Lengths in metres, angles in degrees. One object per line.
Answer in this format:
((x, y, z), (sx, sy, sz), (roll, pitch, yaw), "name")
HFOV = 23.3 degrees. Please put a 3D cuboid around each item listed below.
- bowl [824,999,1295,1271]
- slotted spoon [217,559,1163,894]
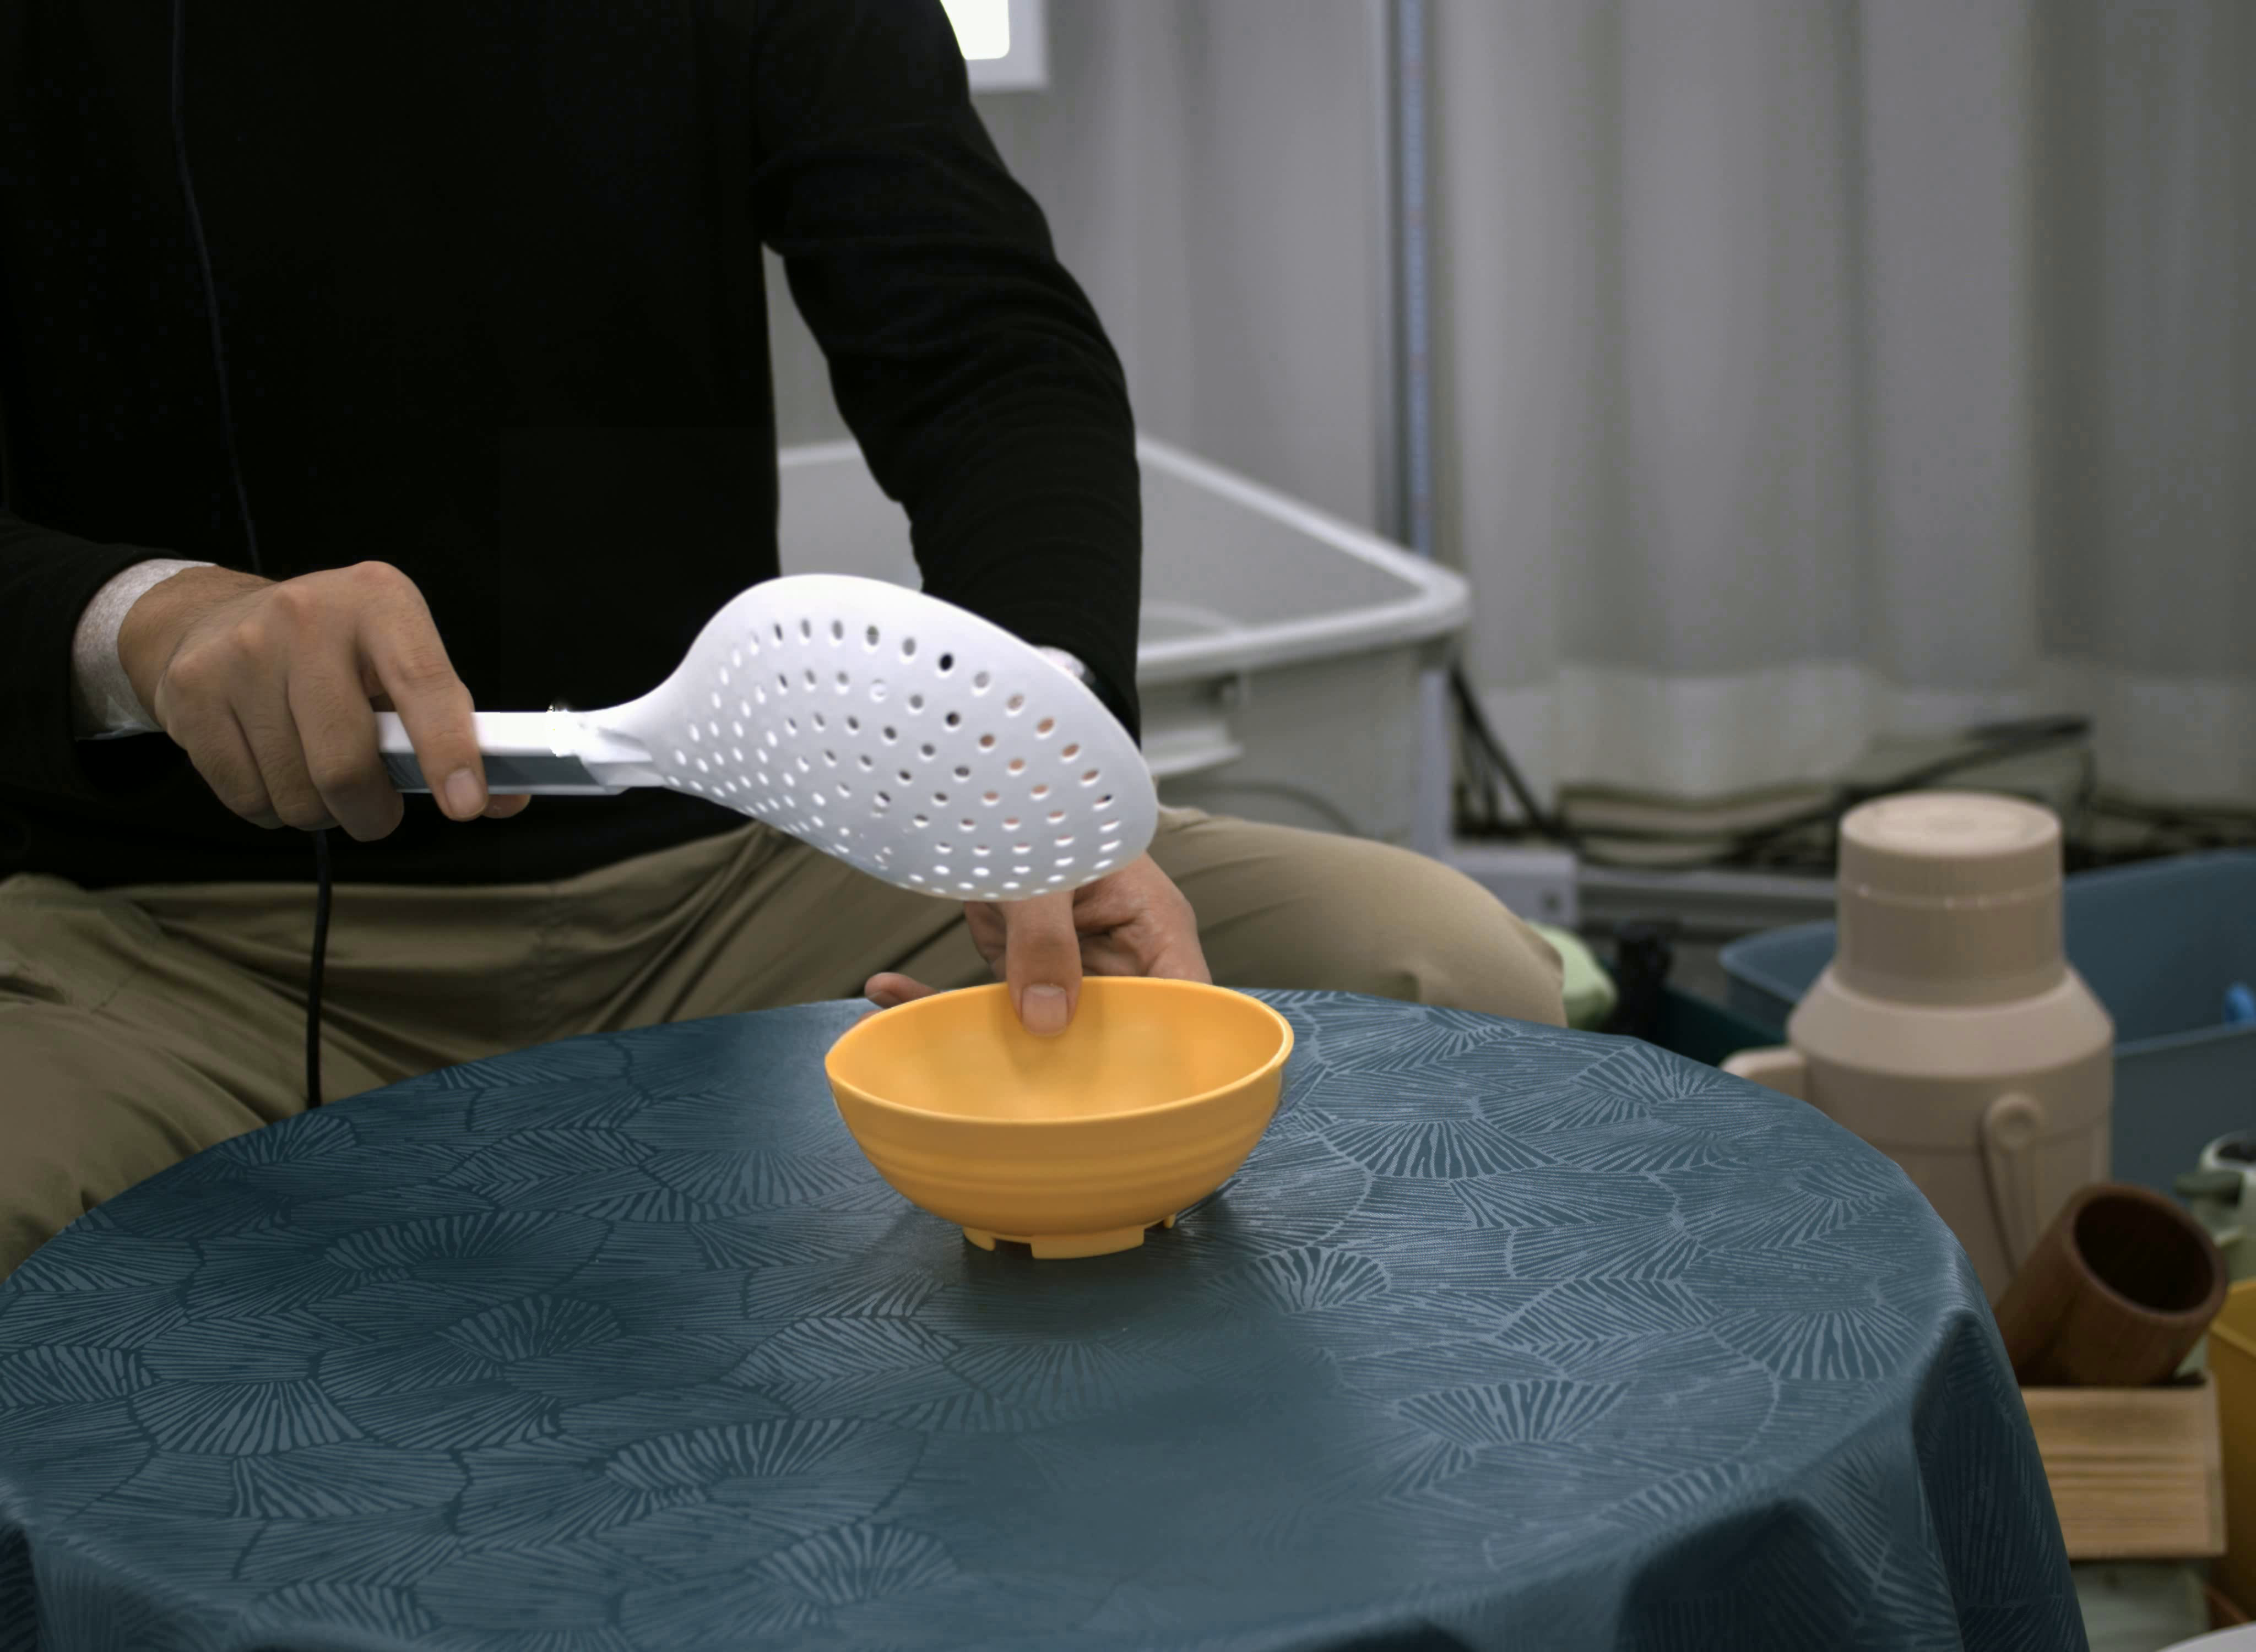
((-0.020, 0.099, 1.680), (0.145, 0.060, 0.146), (-2, 12, 0), "bowl")
((-0.140, -0.024, 1.599), (0.351, 0.134, 0.046), (5, 54, 41), "slotted spoon")
